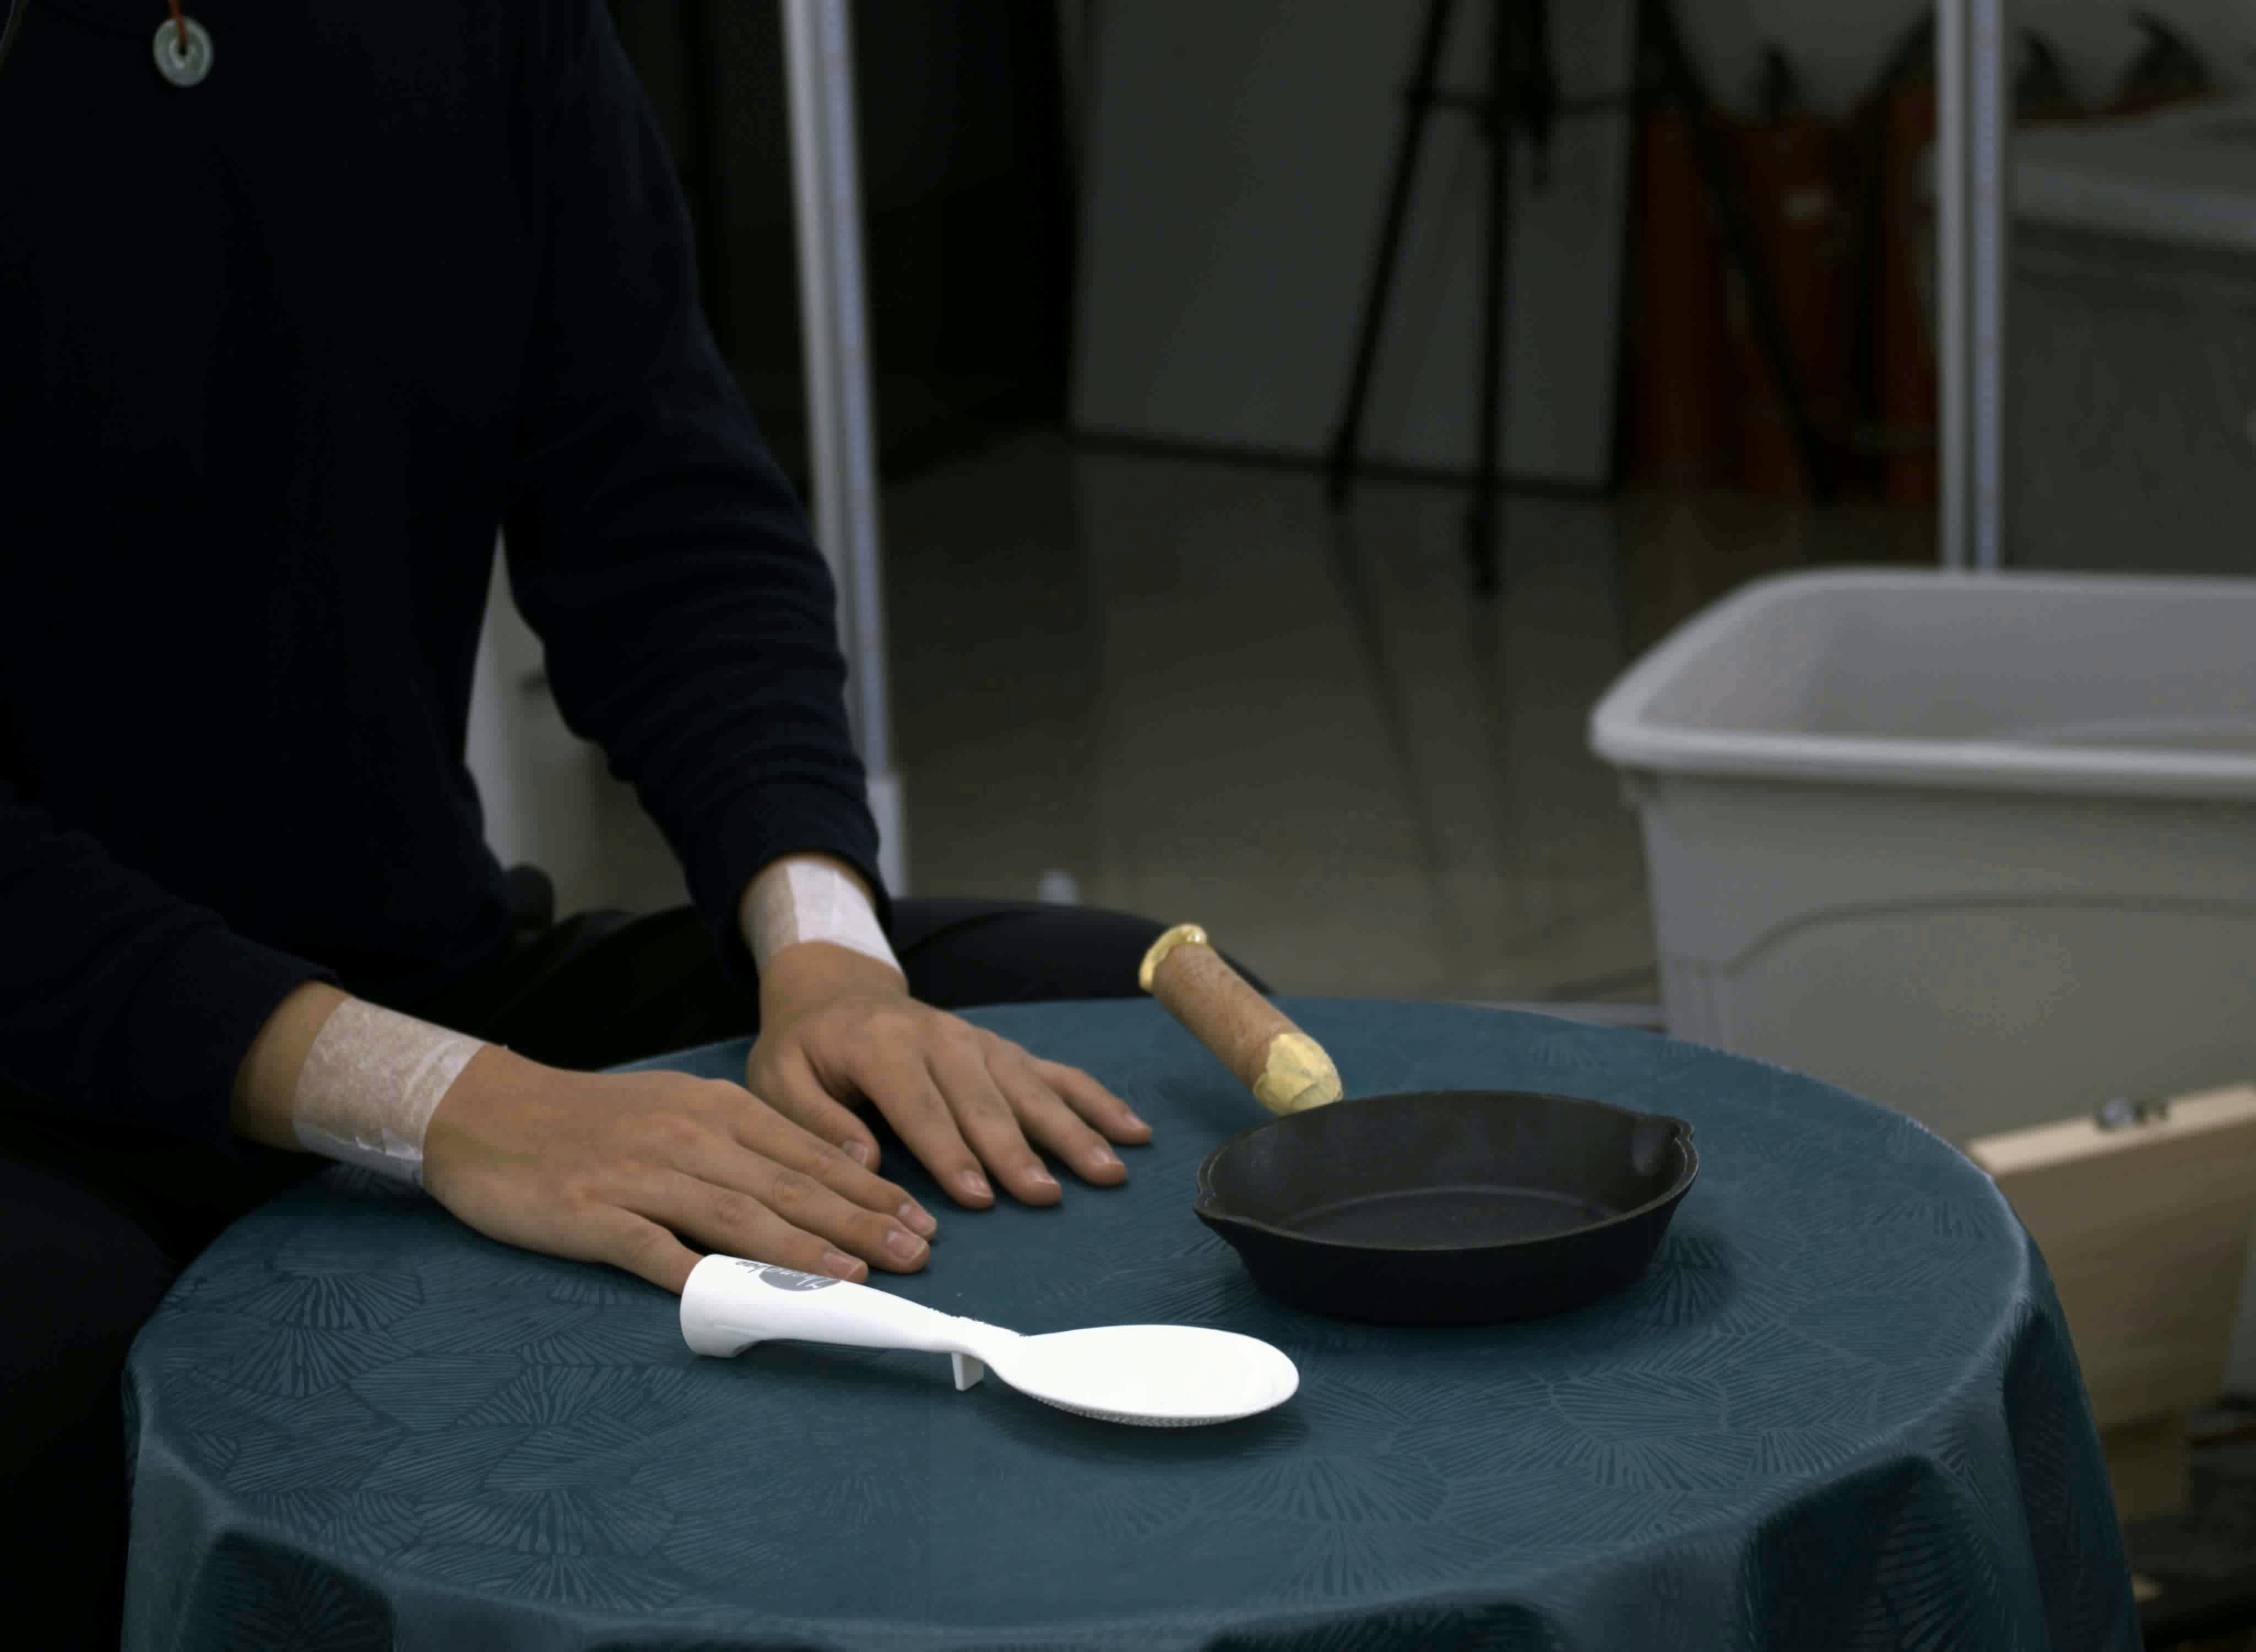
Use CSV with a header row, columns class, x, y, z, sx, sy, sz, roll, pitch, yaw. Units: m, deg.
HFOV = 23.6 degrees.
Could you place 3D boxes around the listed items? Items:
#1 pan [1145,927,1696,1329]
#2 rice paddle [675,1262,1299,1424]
class,x,y,z,sx,sy,sz,roll,pitch,yaw
pan,0.071,0.094,1.753,0.165,0.050,0.327,-9,16,-17
rice paddle,-0.042,0.153,1.593,0.206,0.030,0.068,4,18,31
